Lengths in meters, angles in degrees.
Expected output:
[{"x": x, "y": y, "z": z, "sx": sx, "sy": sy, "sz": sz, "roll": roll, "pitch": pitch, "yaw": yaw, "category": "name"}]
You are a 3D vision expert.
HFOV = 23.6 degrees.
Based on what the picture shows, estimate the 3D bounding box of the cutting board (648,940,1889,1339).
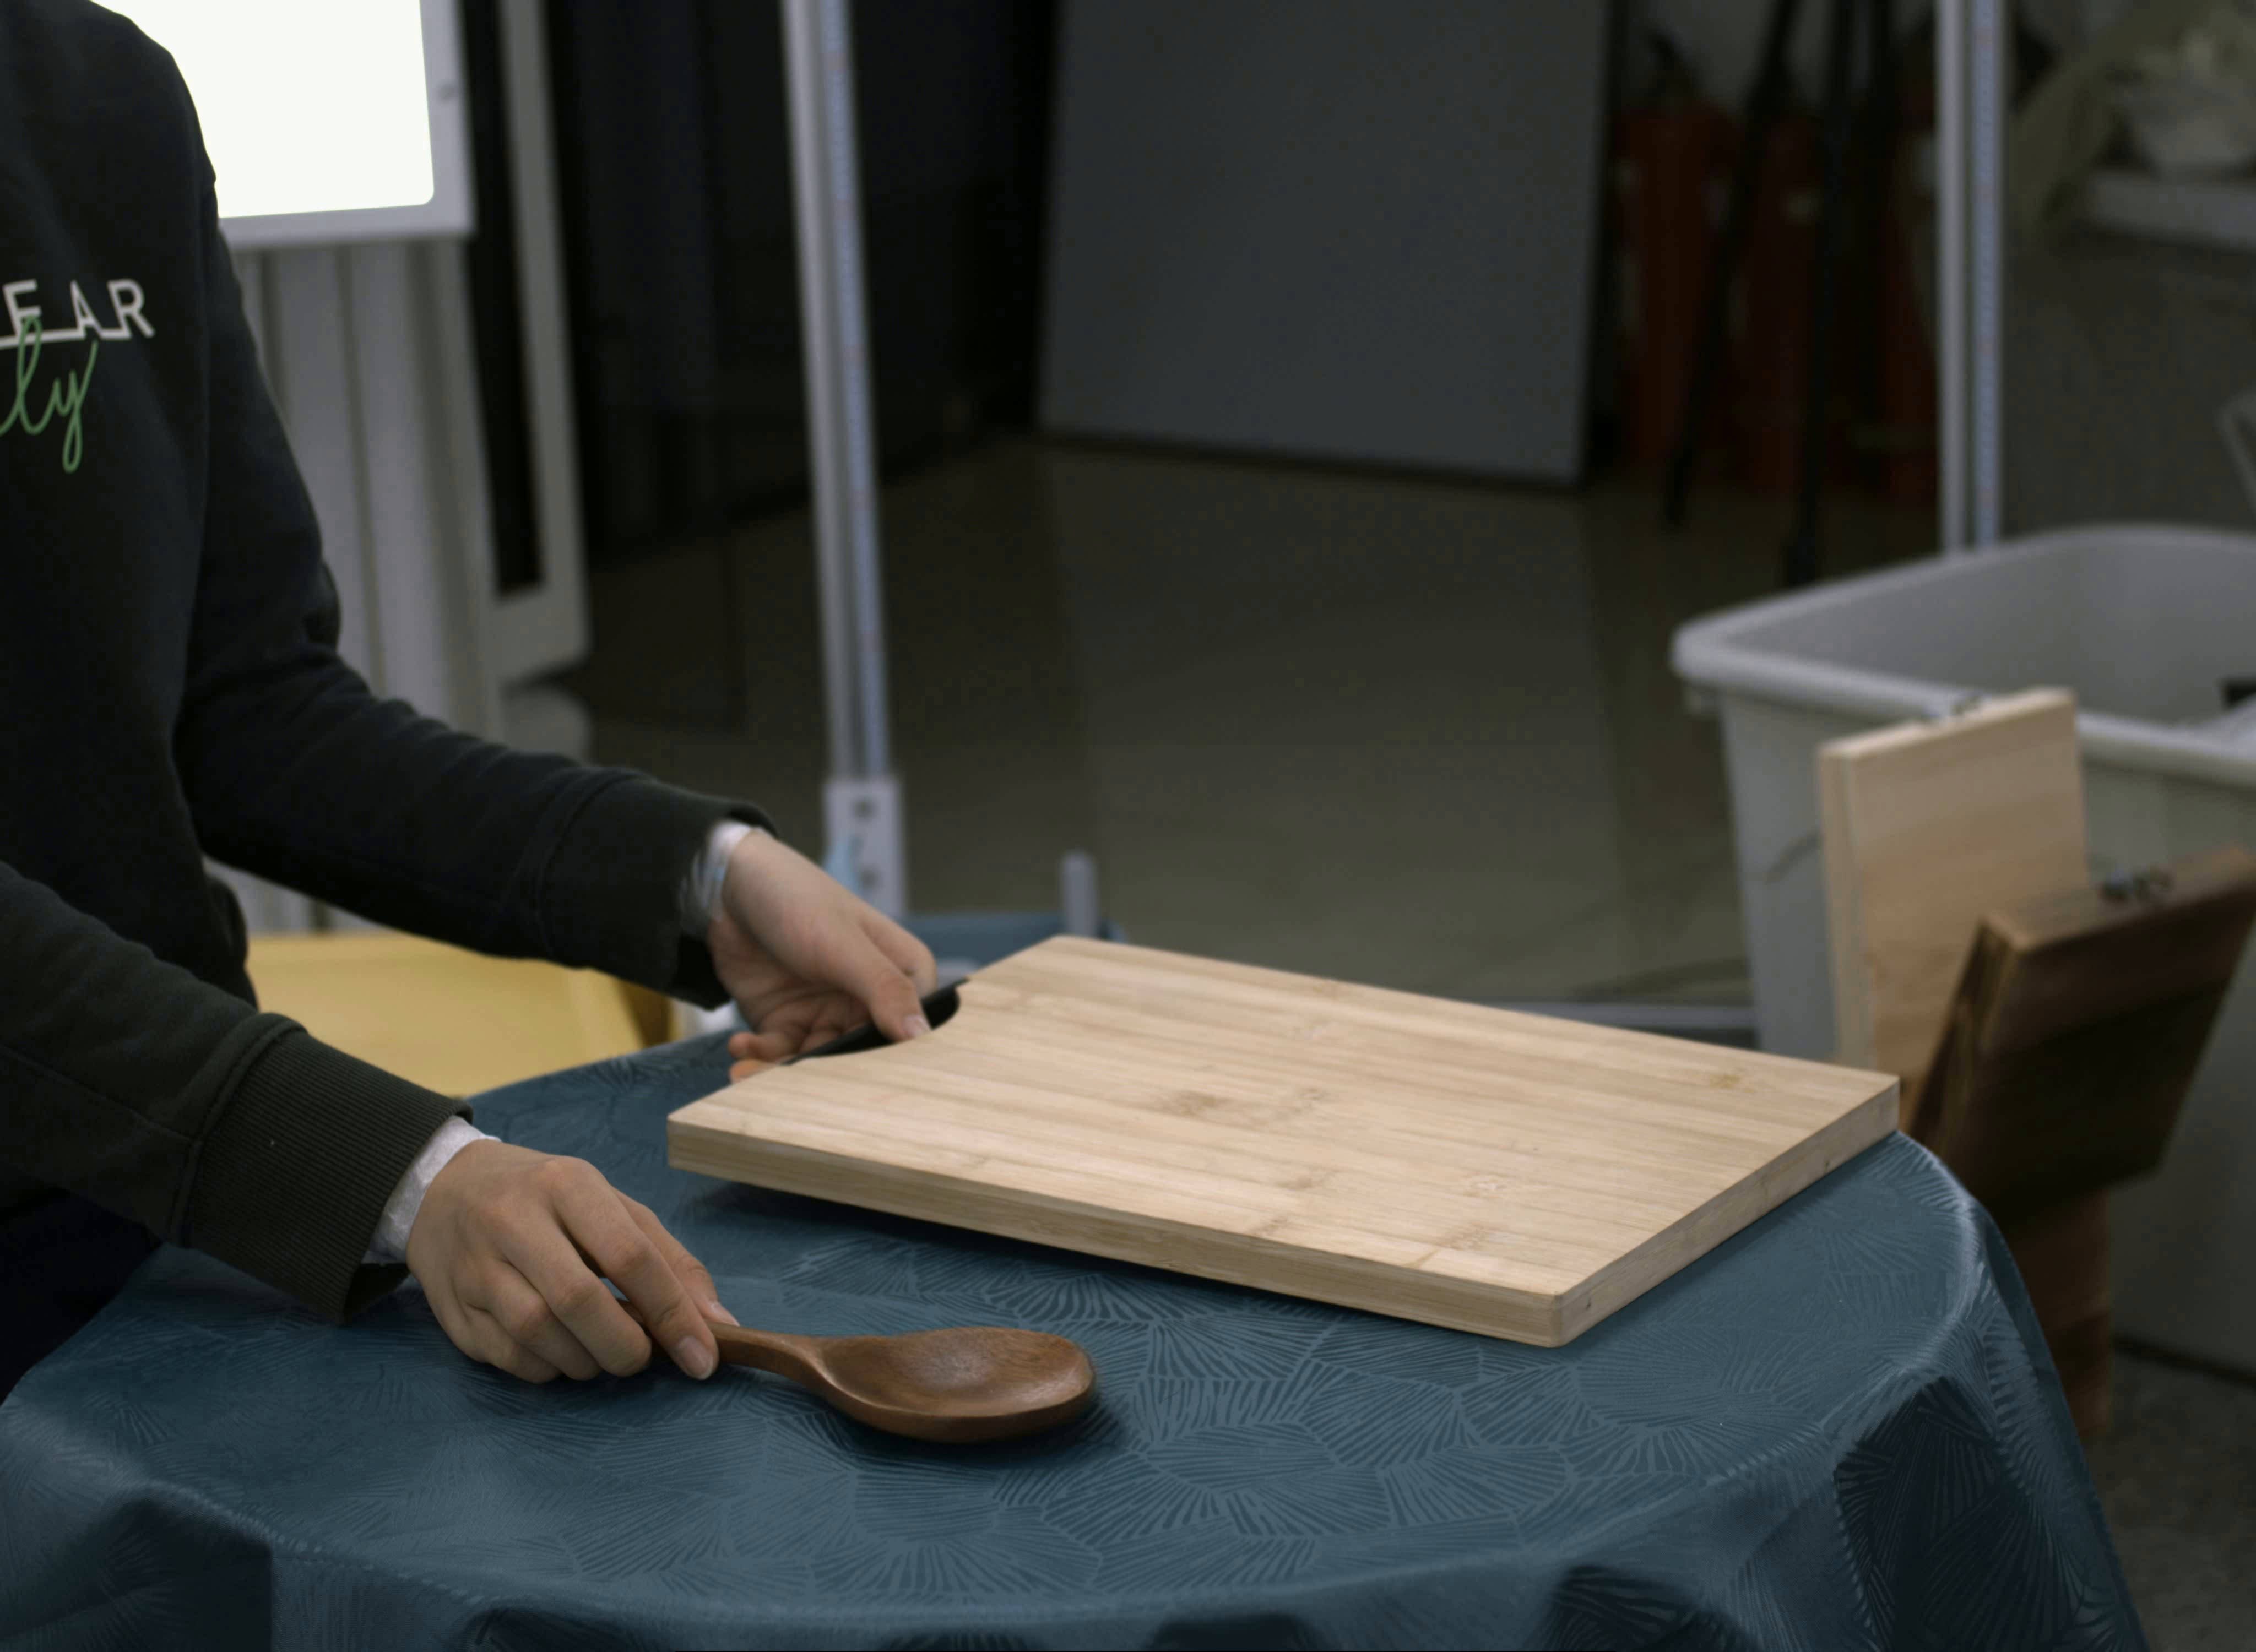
[{"x": 0.047, "y": 0.098, "z": 1.786, "sx": 0.350, "sy": 0.024, "sz": 0.246, "roll": 8, "pitch": 17, "yaw": 32, "category": "cutting board"}]

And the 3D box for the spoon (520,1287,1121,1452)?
[{"x": -0.095, "y": 0.160, "z": 1.606, "sx": 0.217, "sy": 0.017, "sz": 0.074, "roll": 6, "pitch": 20, "yaw": 35, "category": "spoon"}]
